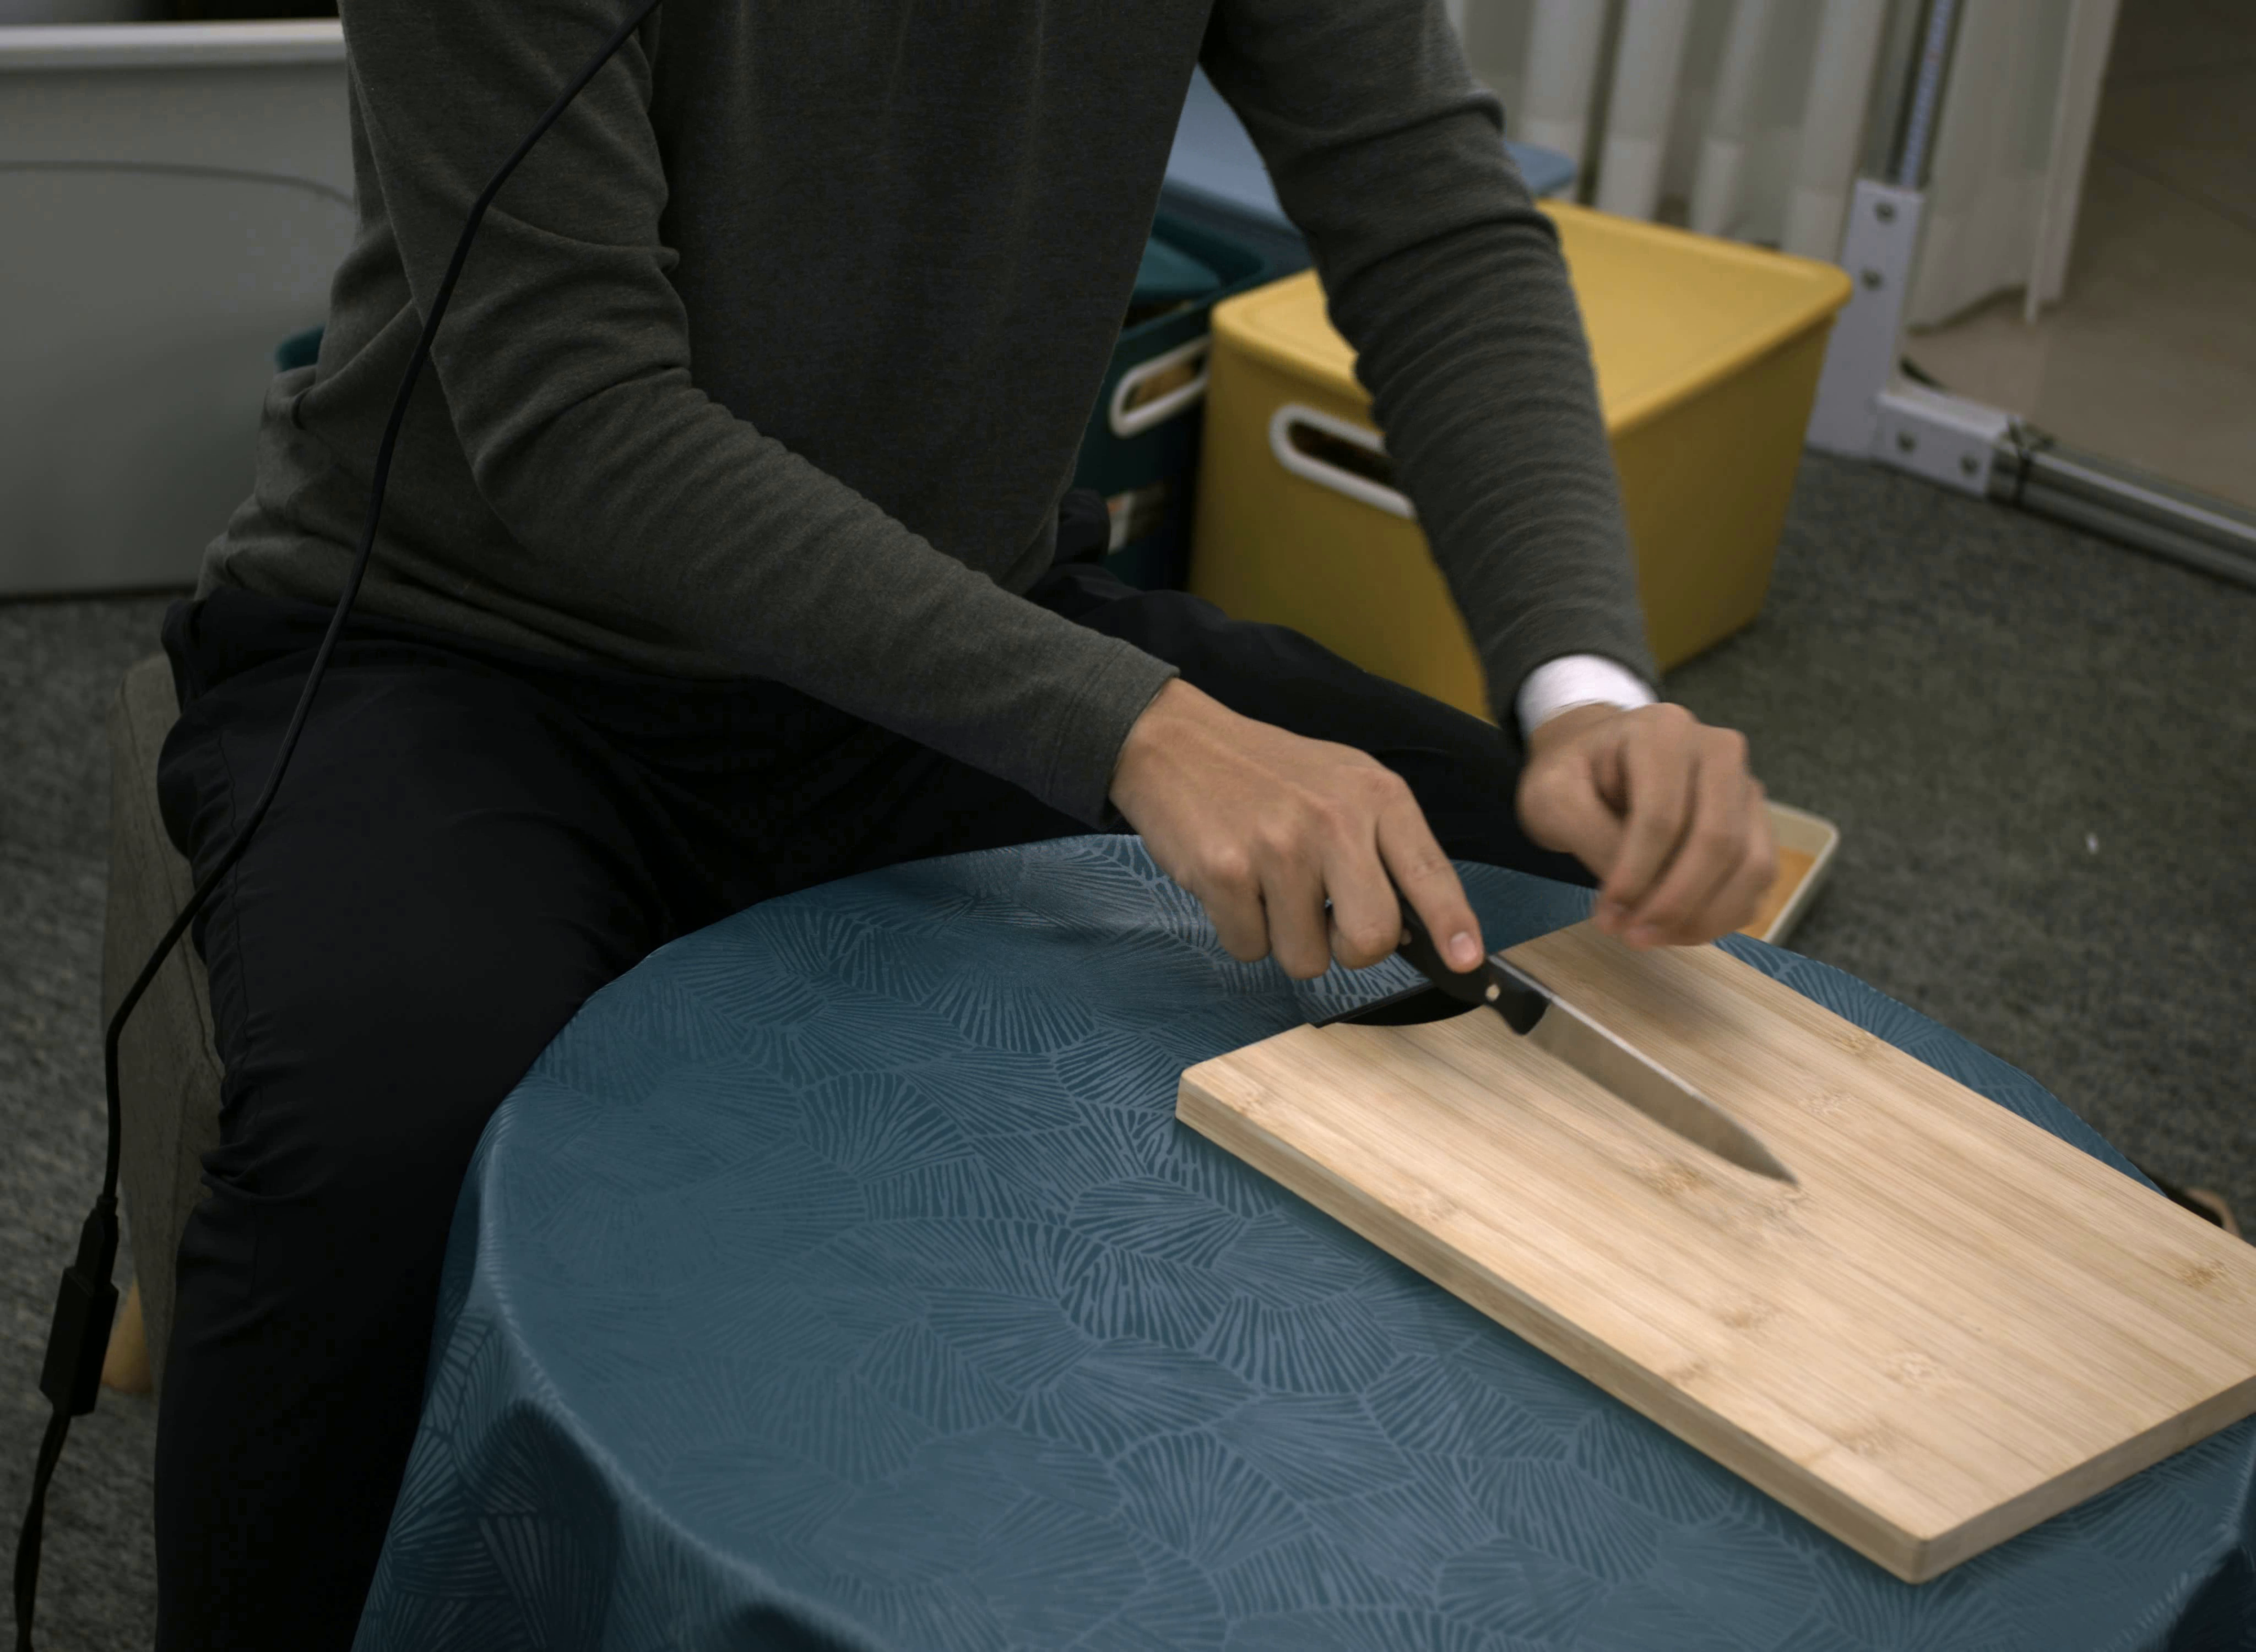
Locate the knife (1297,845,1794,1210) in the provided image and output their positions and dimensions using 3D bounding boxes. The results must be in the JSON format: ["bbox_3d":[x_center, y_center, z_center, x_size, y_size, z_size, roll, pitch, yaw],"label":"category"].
[{"bbox_3d":[0.144,0.068,1.841,0.016,0.024,0.240,-19,42,-39],"label":"knife"}]

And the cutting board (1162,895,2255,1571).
[{"bbox_3d":[0.214,0.131,1.823,0.249,0.023,0.351,-18,36,-40],"label":"cutting board"}]
